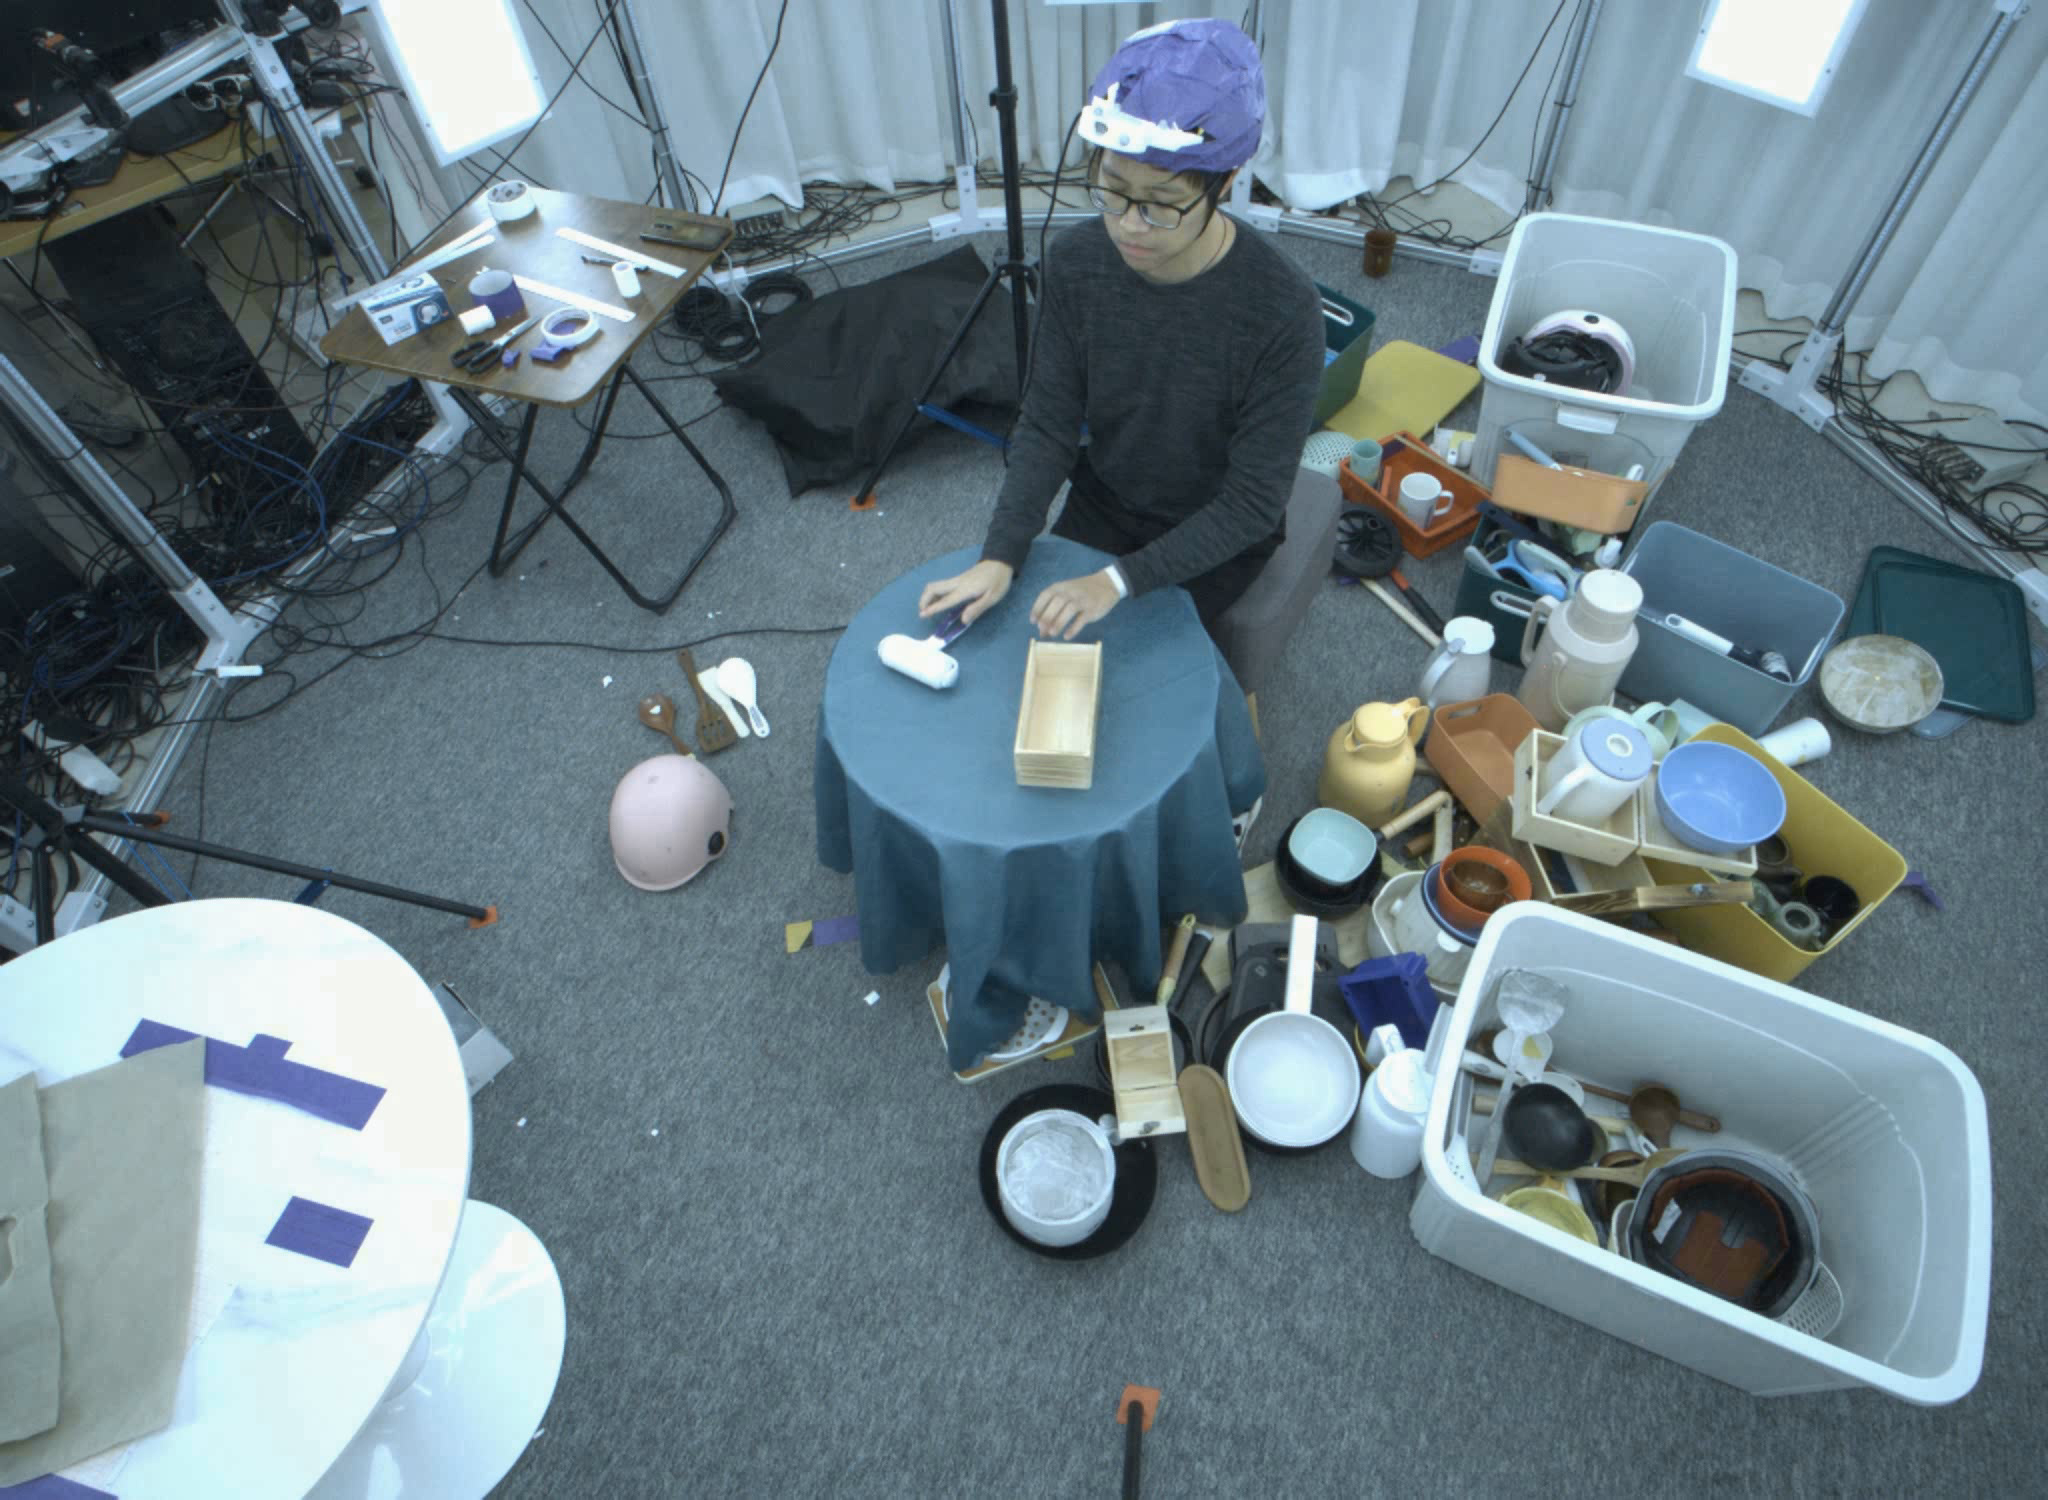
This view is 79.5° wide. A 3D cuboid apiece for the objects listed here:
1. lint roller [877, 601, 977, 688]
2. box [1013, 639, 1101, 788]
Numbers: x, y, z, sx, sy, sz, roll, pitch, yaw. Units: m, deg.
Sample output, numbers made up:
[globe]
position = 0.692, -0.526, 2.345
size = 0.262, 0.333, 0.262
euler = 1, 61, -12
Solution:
[lint roller]
position = -0.128, -0.179, 1.890
size = 0.131, 0.051, 0.181
euler = 27, 62, 21
[box]
position = 0.051, -0.055, 1.776
size = 0.107, 0.081, 0.209
euler = 3, 54, 5
